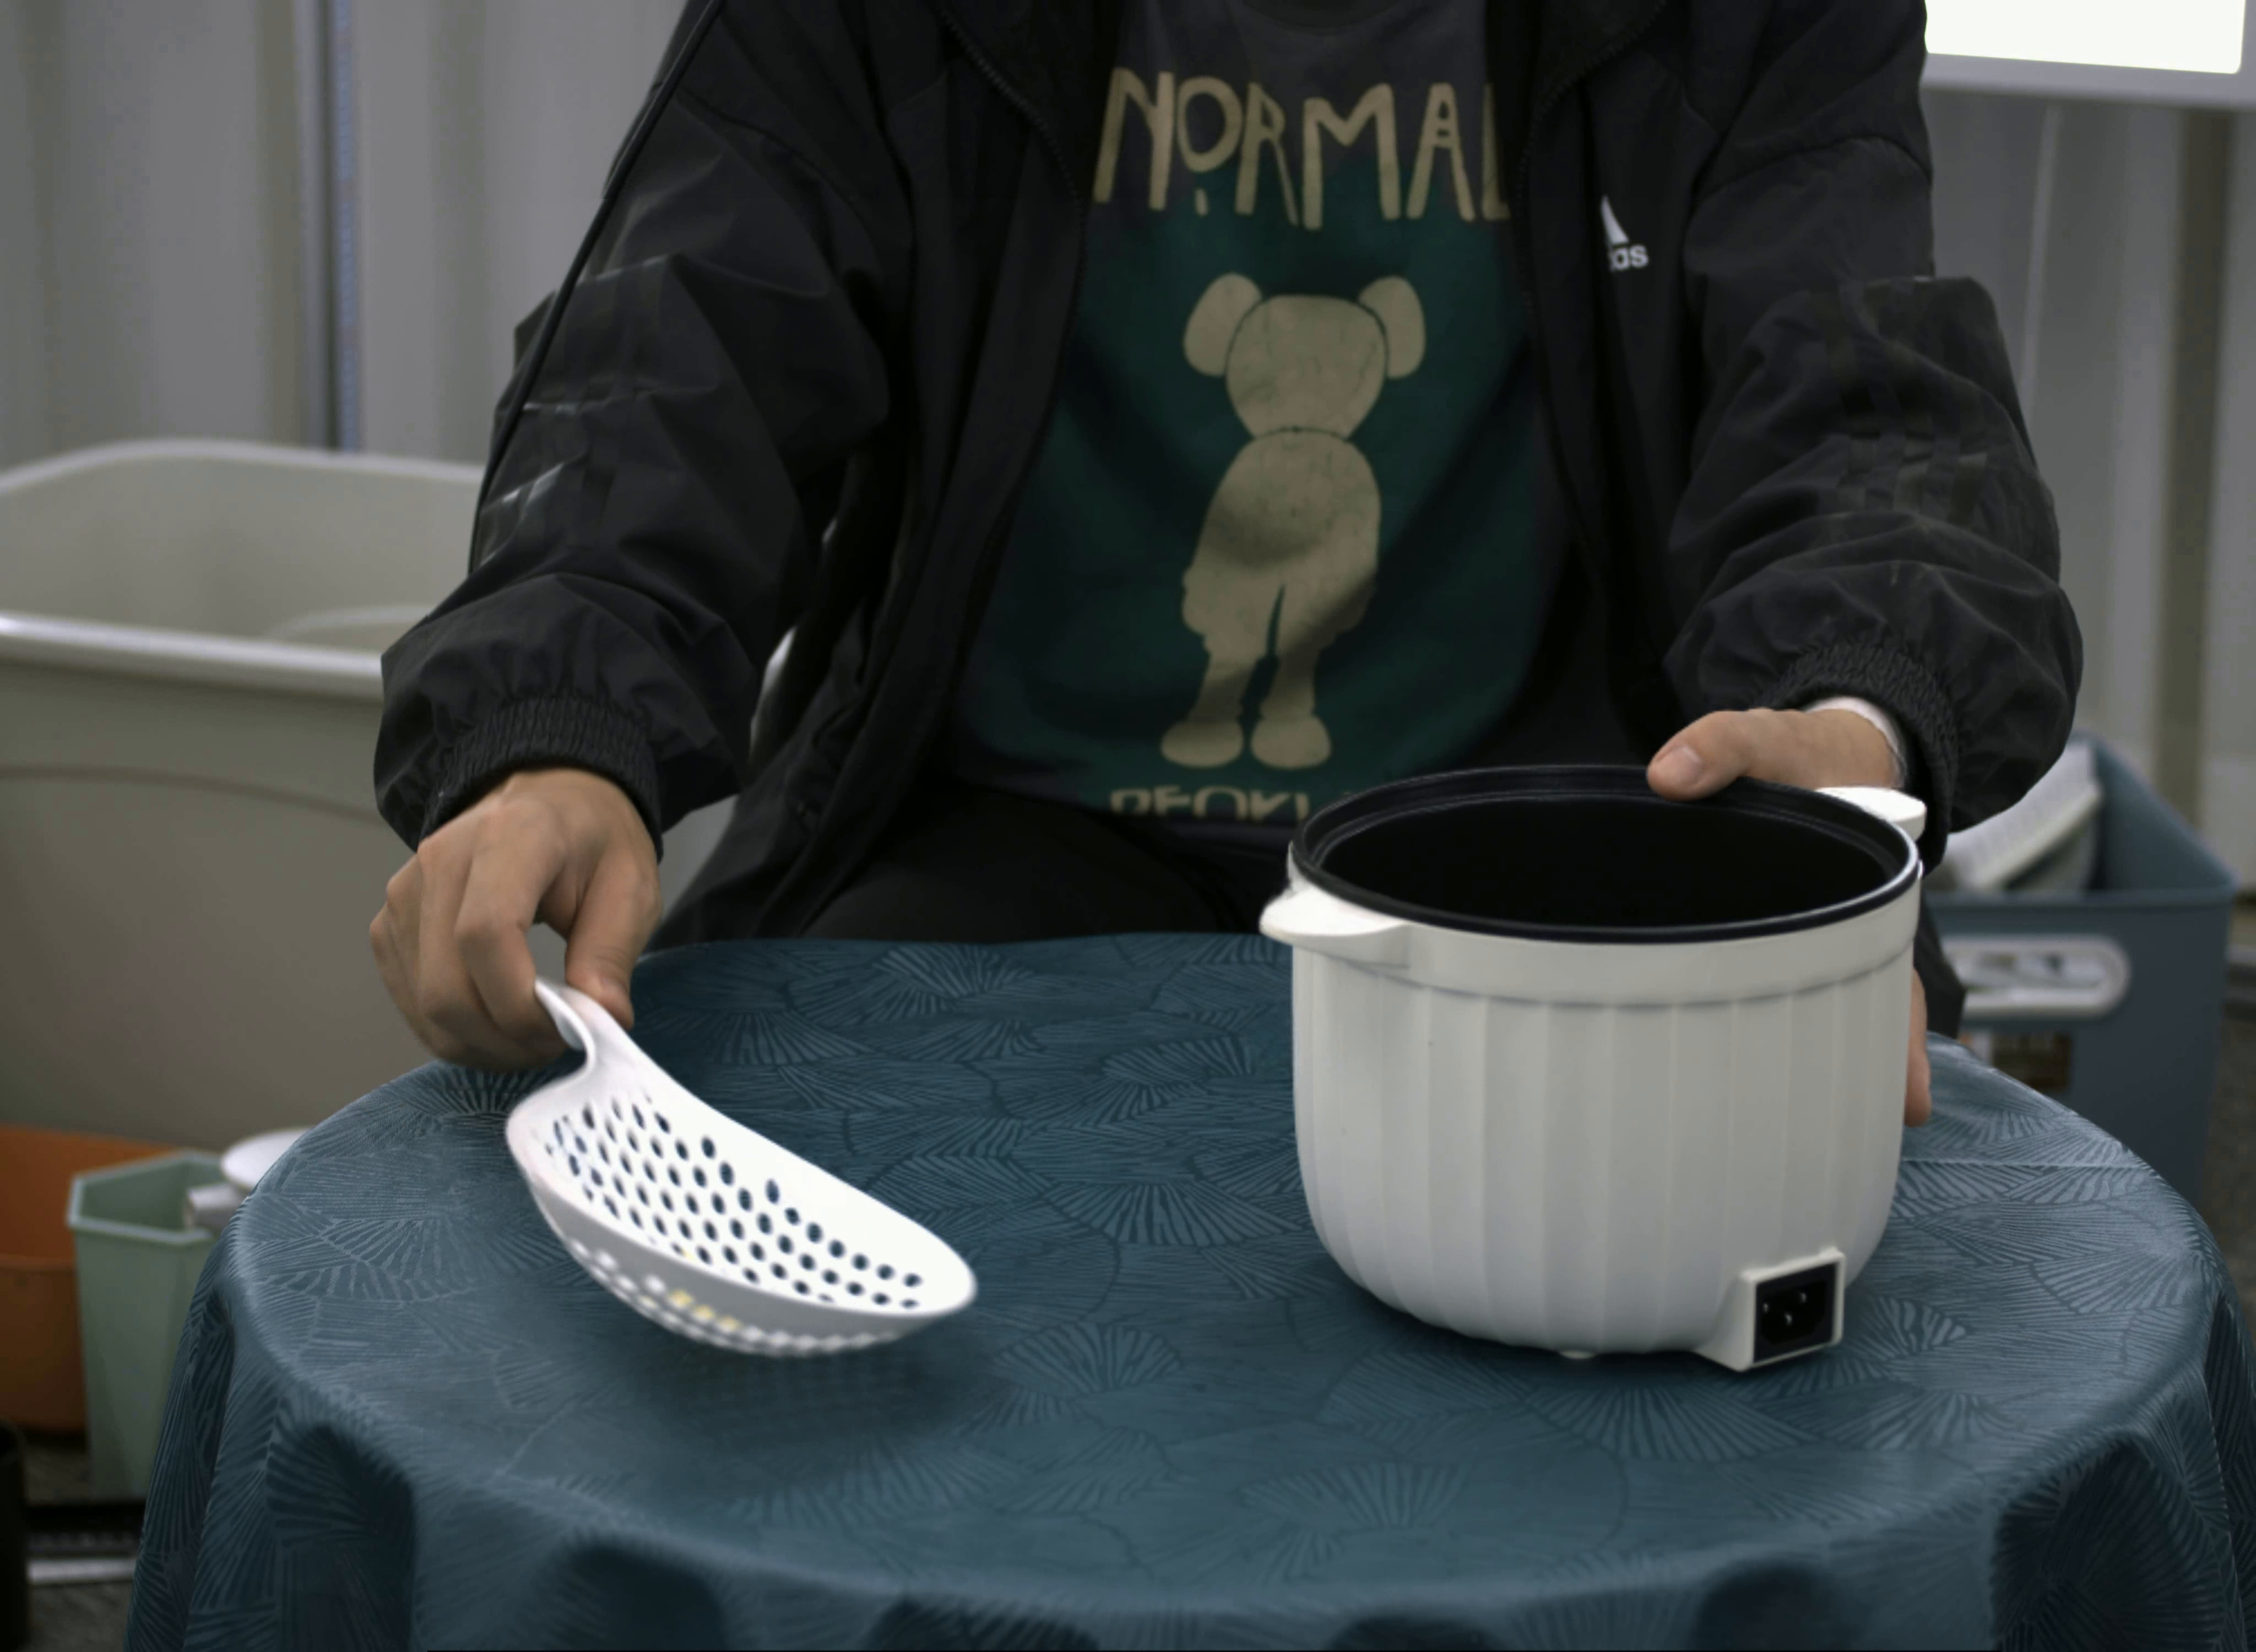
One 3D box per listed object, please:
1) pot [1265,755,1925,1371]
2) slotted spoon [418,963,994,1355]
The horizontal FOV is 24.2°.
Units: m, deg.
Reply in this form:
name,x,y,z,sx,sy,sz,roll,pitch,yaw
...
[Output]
name,x,y,z,sx,sy,sz,roll,pitch,yaw
pot,0.132,0.067,1.532,0.241,0.144,0.188,-10,22,-36
slotted spoon,-0.149,0.085,1.560,0.138,0.050,0.343,13,15,-26
